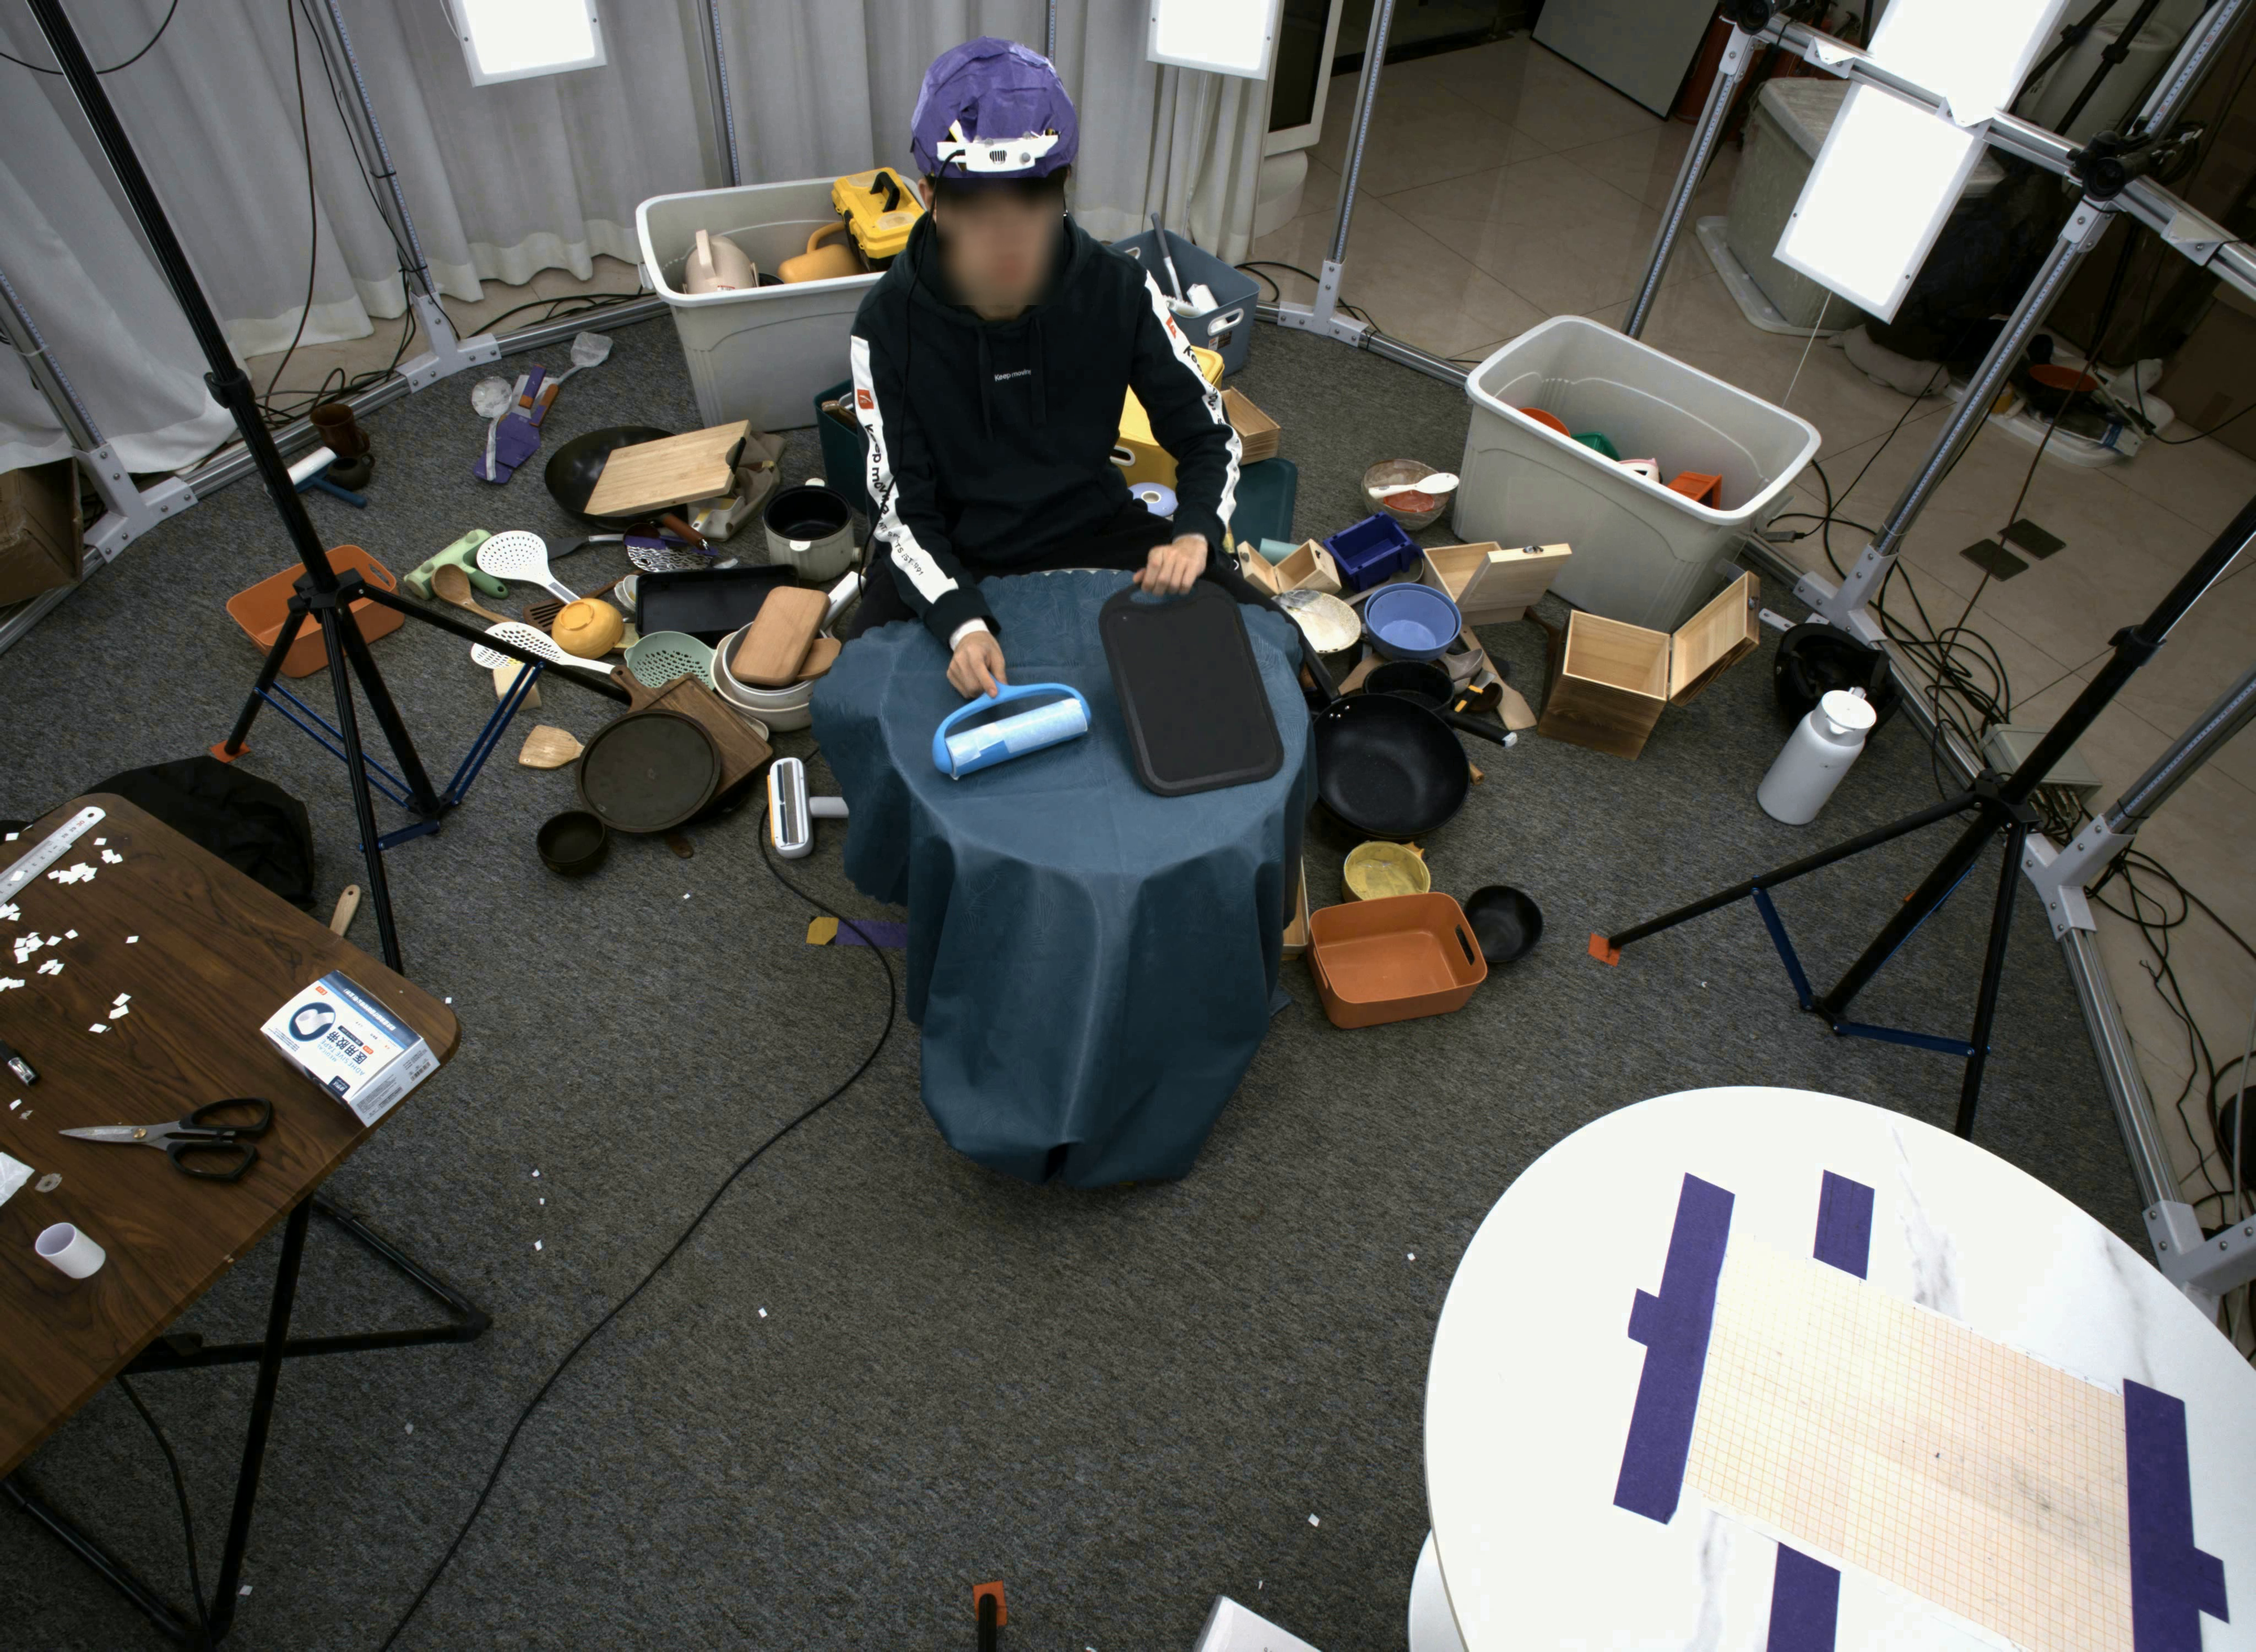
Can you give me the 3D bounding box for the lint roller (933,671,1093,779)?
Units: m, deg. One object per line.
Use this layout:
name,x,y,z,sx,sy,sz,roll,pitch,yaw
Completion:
lint roller,-0.180,-0.163,1.758,0.229,0.066,0.184,-23,58,-19

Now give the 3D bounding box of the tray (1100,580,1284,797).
tray,0.084,-0.199,1.771,0.211,0.009,0.331,-9,69,-14
